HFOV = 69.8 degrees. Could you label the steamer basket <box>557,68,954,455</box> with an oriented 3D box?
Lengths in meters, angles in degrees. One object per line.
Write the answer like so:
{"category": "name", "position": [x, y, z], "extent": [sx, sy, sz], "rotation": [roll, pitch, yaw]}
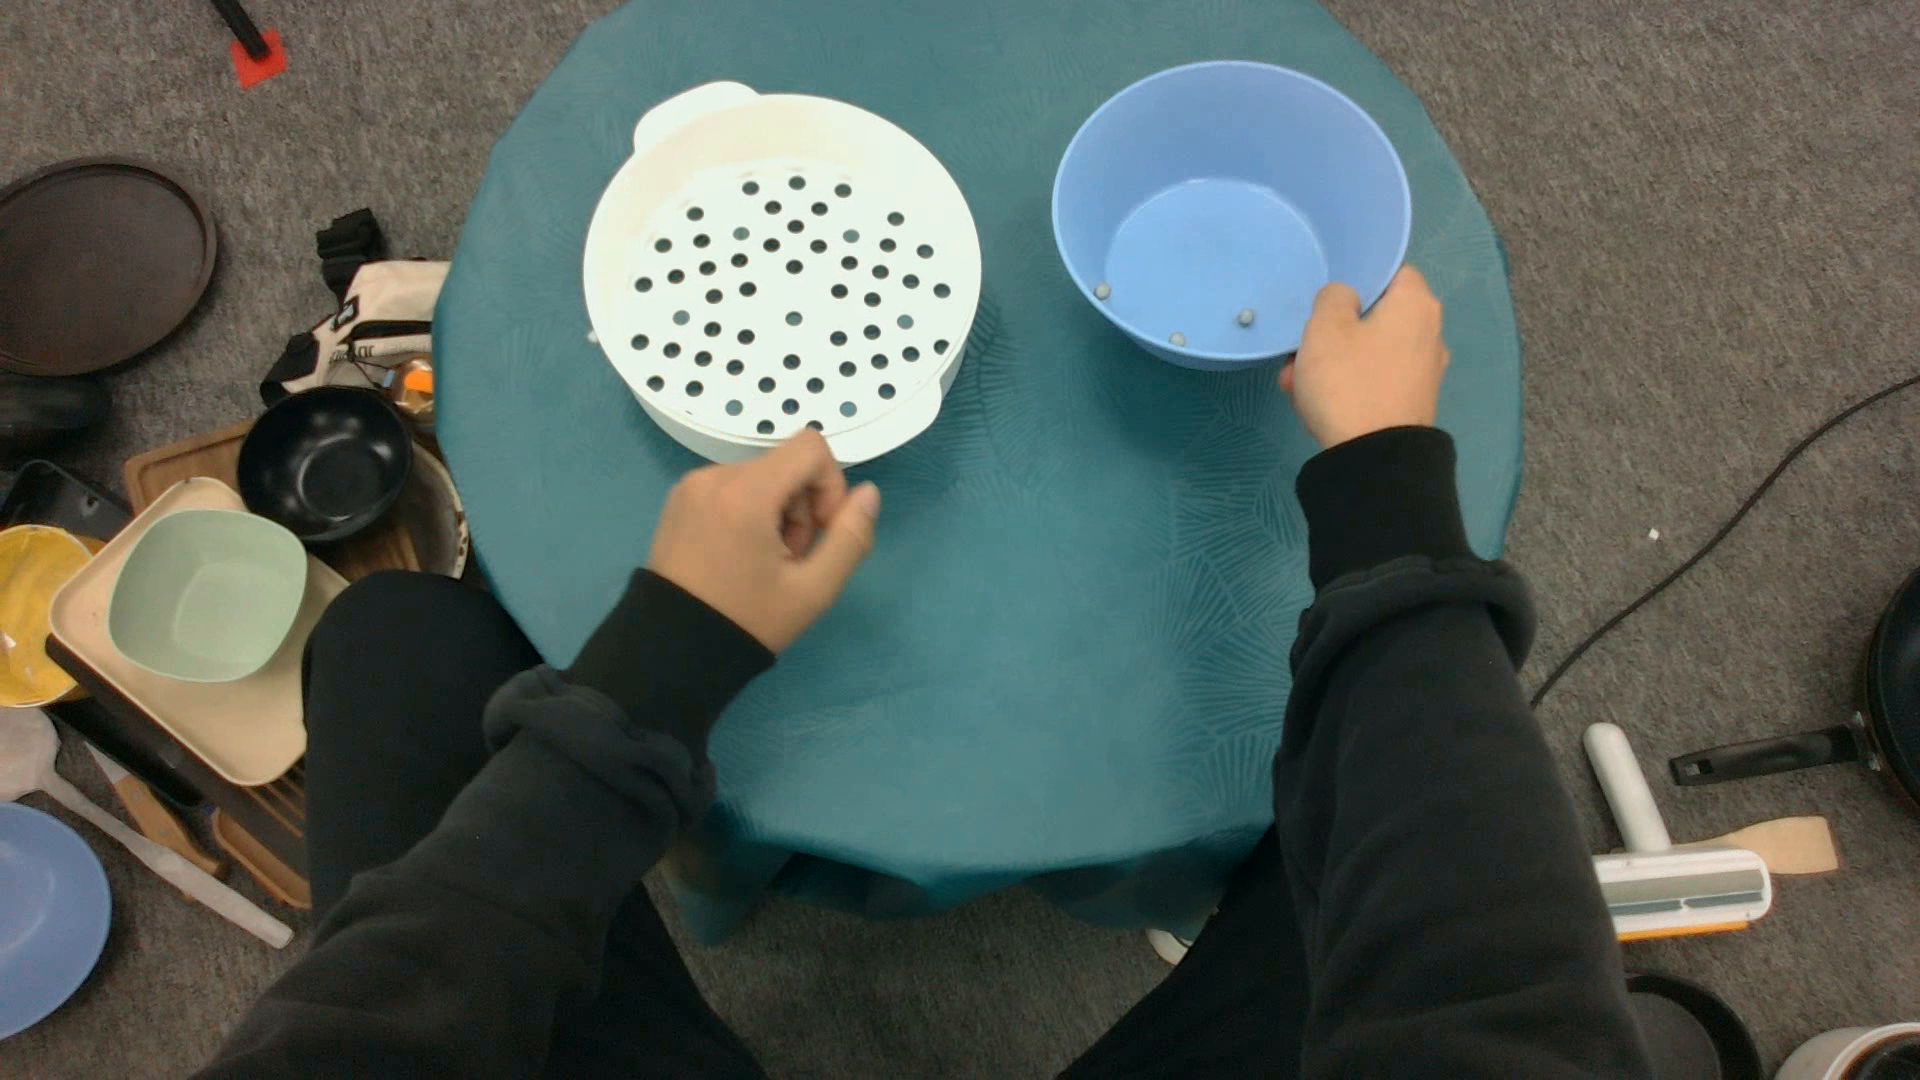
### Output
{"category": "steamer basket", "position": [-0.105, -0.142, 0.729], "extent": [0.202, 0.069, 0.231], "rotation": [-29, 74, -13]}

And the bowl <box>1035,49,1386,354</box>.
{"category": "bowl", "position": [0.127, -0.165, 0.722], "extent": [0.176, 0.070, 0.176], "rotation": [-1, 69, 3]}
